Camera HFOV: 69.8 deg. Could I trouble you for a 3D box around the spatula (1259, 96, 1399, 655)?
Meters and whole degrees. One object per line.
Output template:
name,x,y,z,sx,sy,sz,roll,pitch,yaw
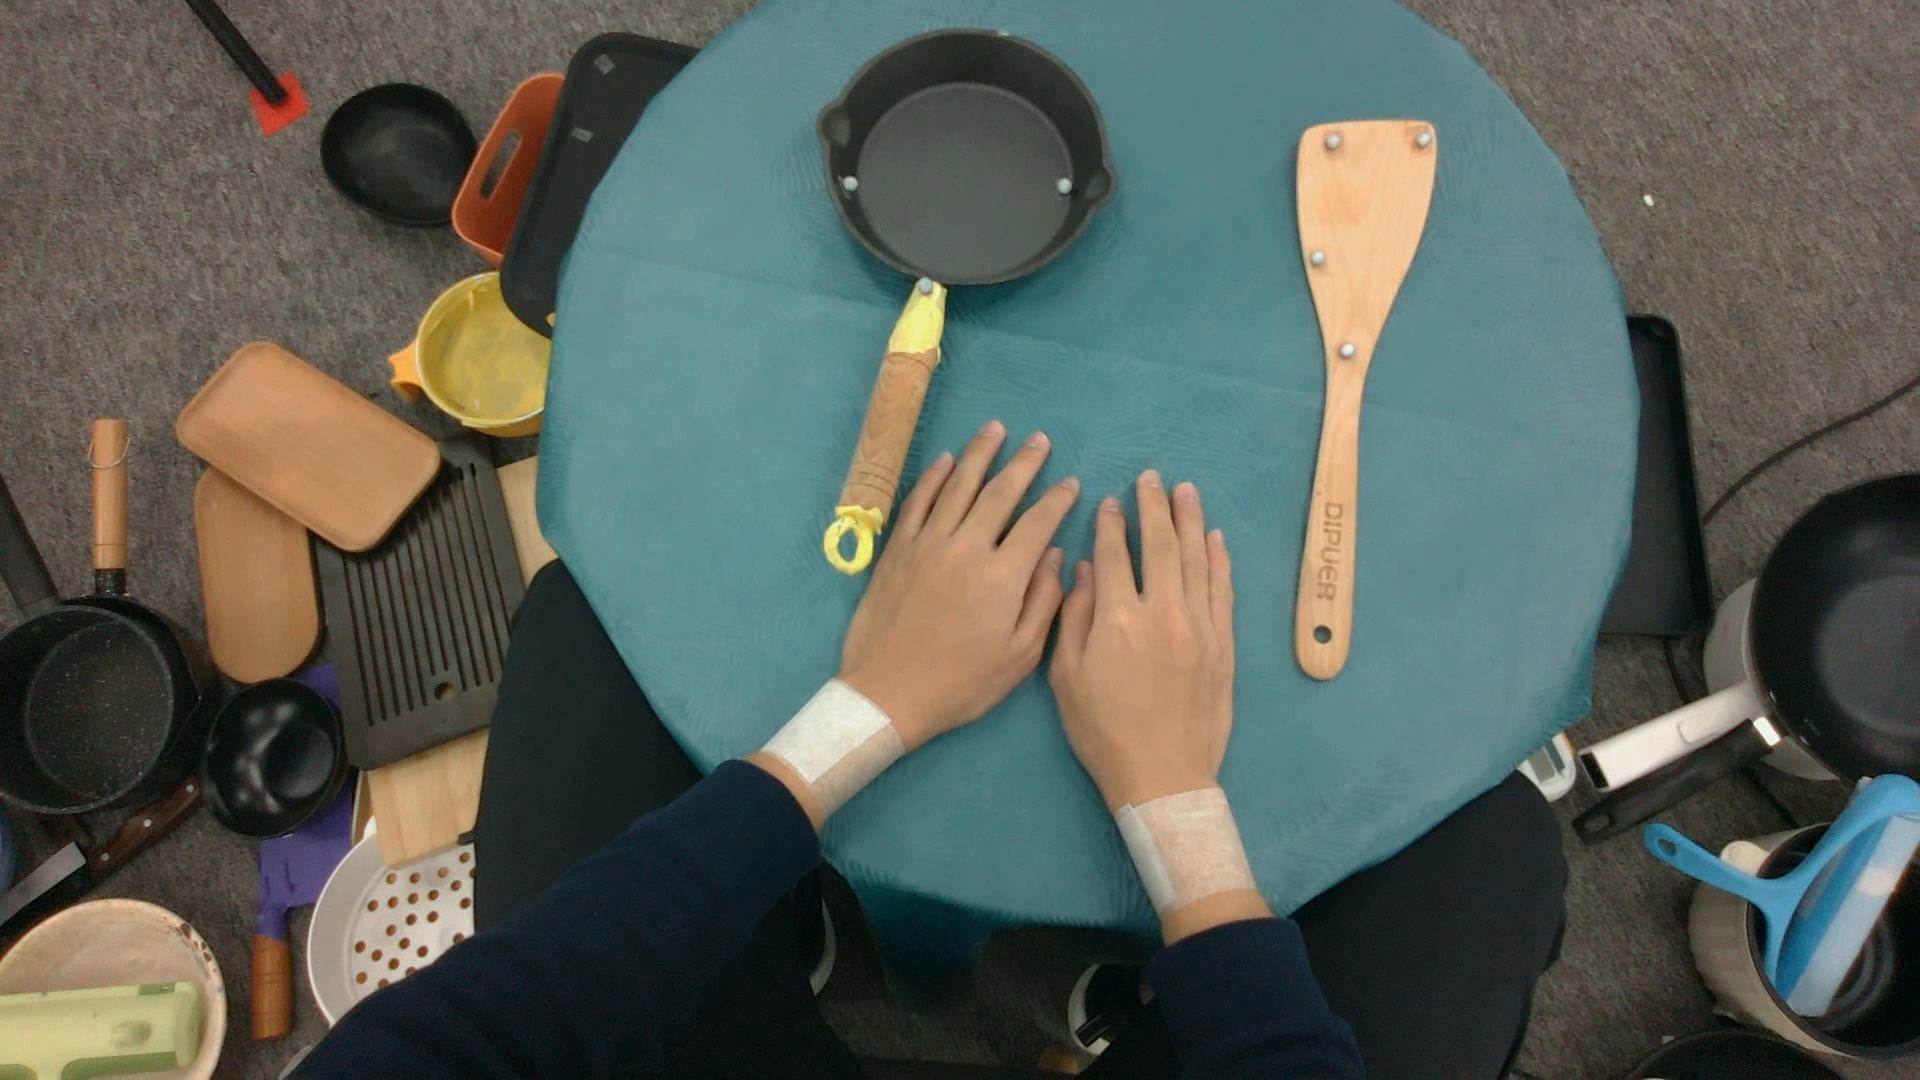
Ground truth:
spatula,0.196,-0.099,0.754,0.080,0.016,0.328,6,75,1

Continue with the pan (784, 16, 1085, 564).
pan,-0.034,-0.138,0.739,0.169,0.049,0.325,14,73,2
